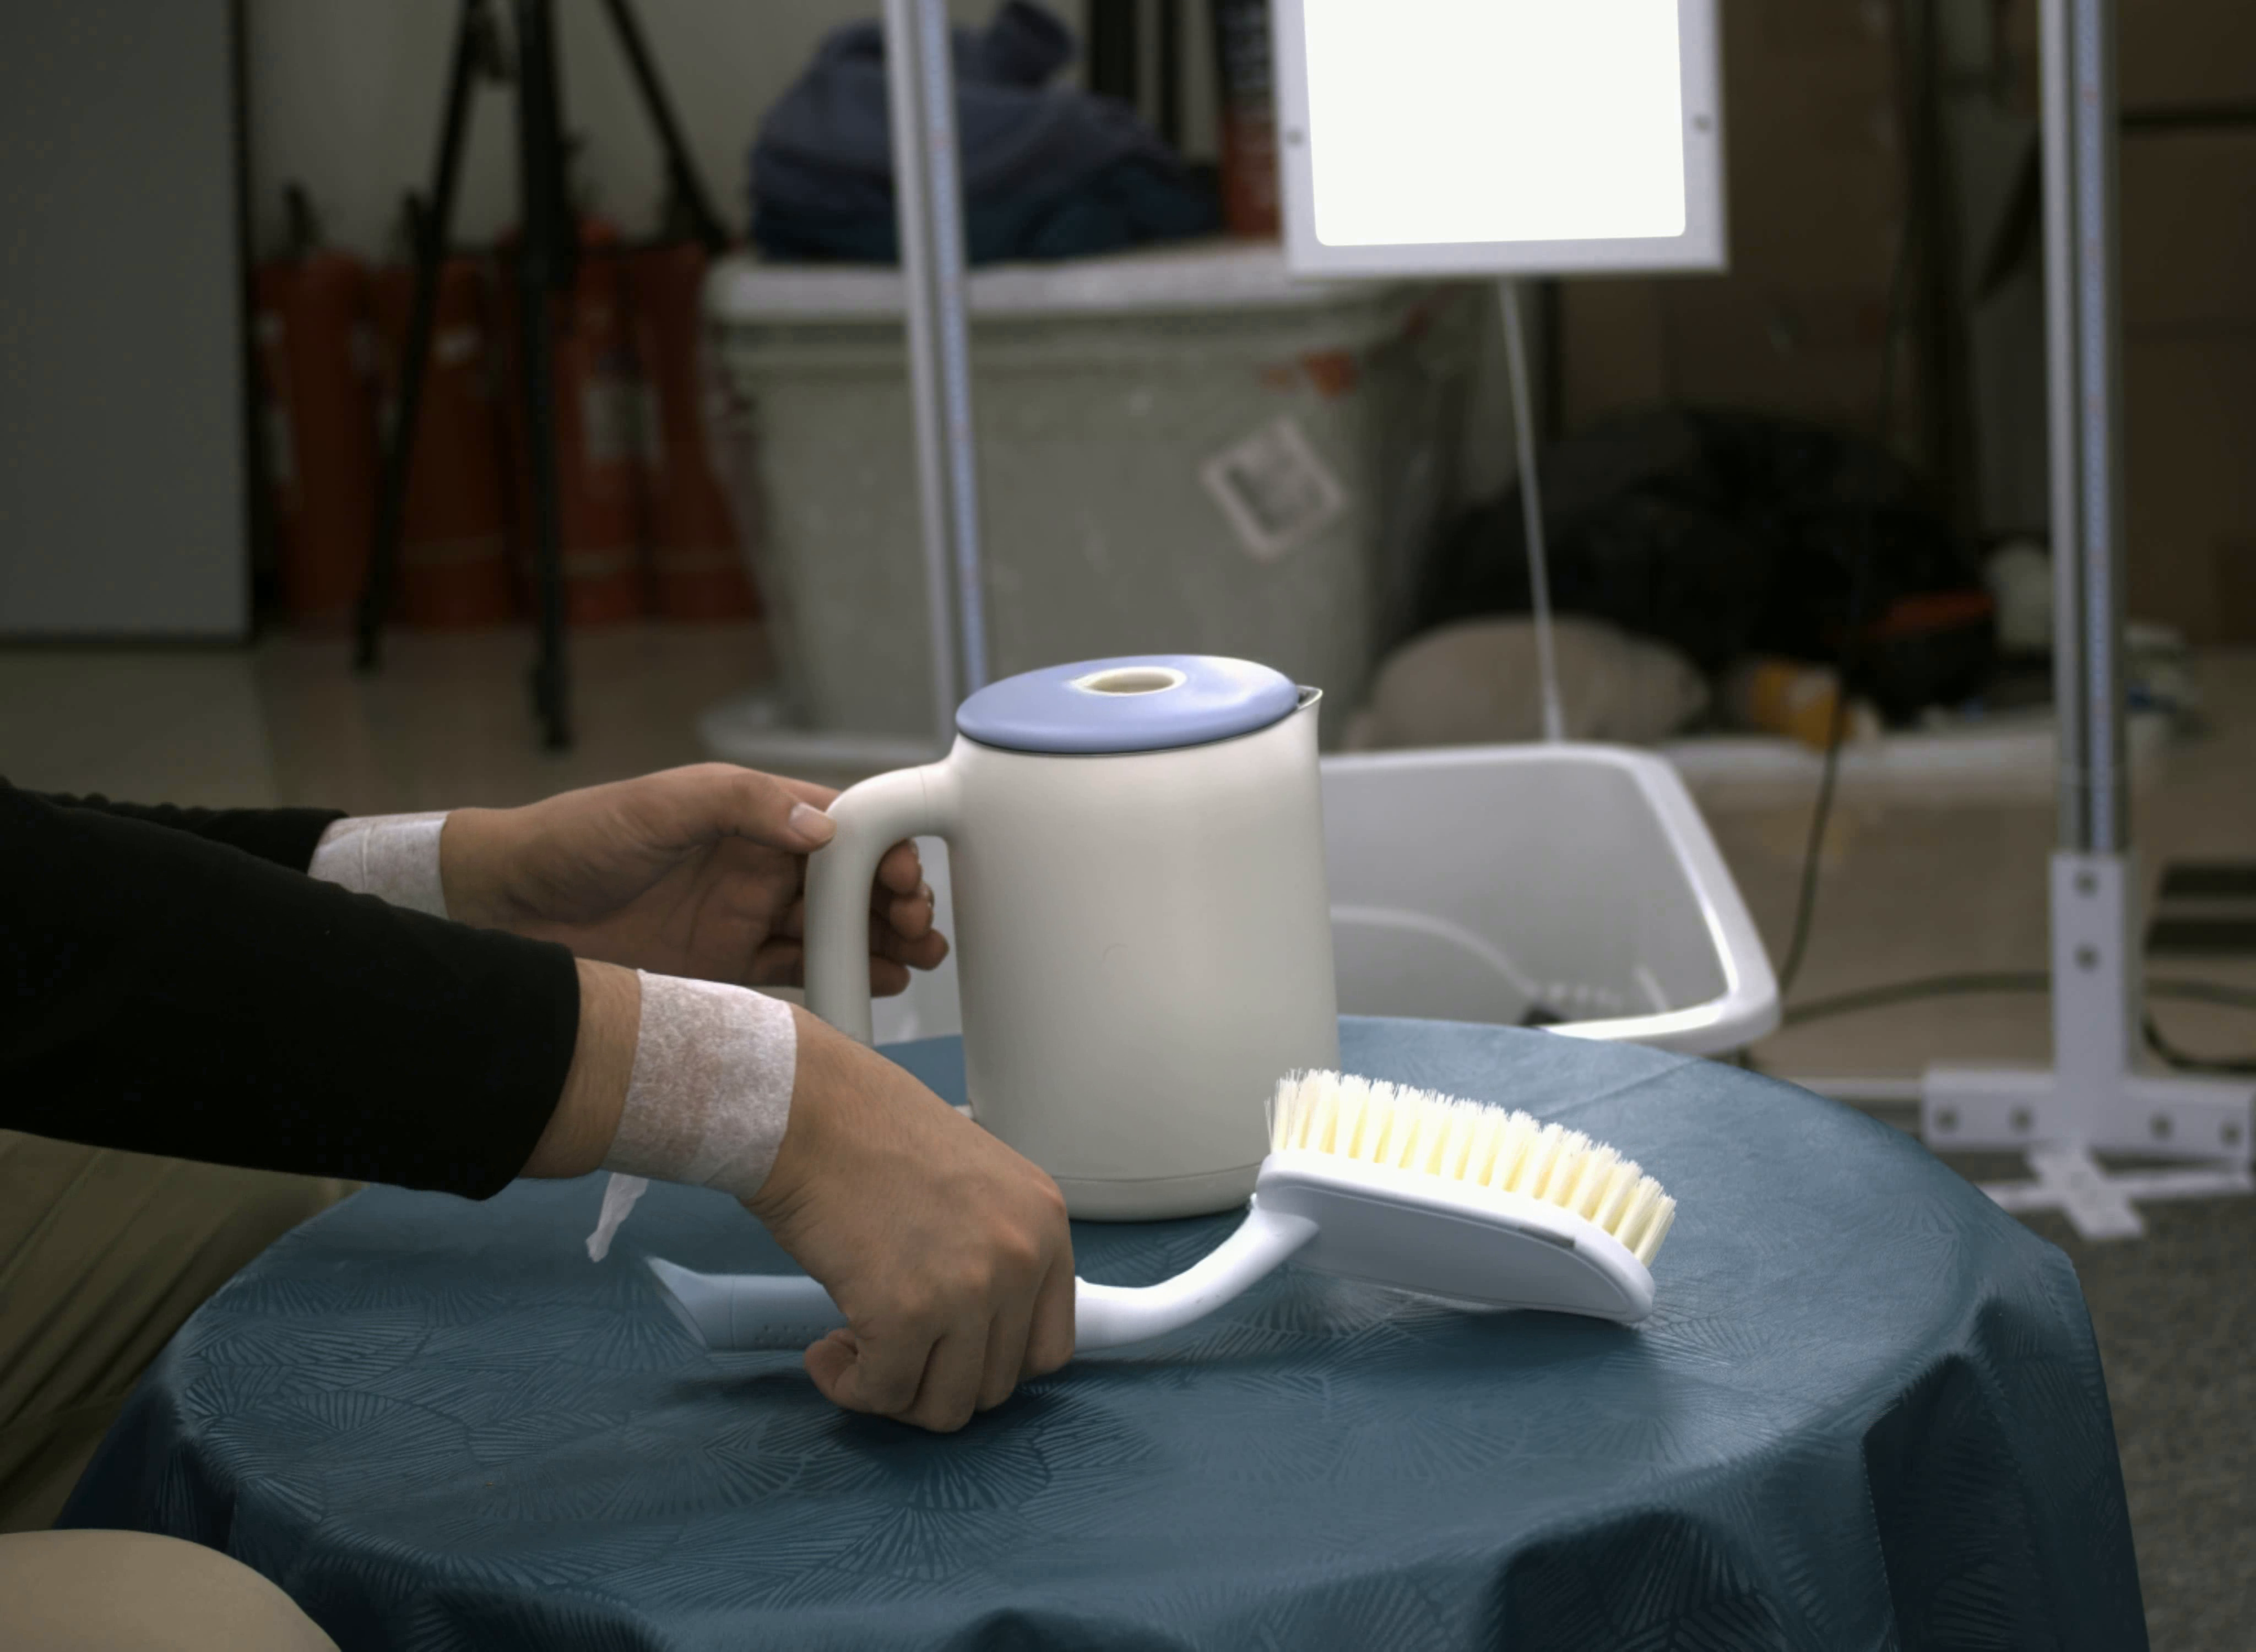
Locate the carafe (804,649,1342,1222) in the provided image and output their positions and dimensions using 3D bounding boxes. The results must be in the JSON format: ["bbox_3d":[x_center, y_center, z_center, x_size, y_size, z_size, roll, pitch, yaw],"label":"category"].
[{"bbox_3d":[-0.019,0.040,1.896,0.189,0.183,0.133,-8,14,-9],"label":"carafe"}]

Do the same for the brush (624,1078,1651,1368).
[{"bbox_3d":[0.003,0.120,1.741,0.326,0.083,0.084,-1,19,7],"label":"brush"}]
